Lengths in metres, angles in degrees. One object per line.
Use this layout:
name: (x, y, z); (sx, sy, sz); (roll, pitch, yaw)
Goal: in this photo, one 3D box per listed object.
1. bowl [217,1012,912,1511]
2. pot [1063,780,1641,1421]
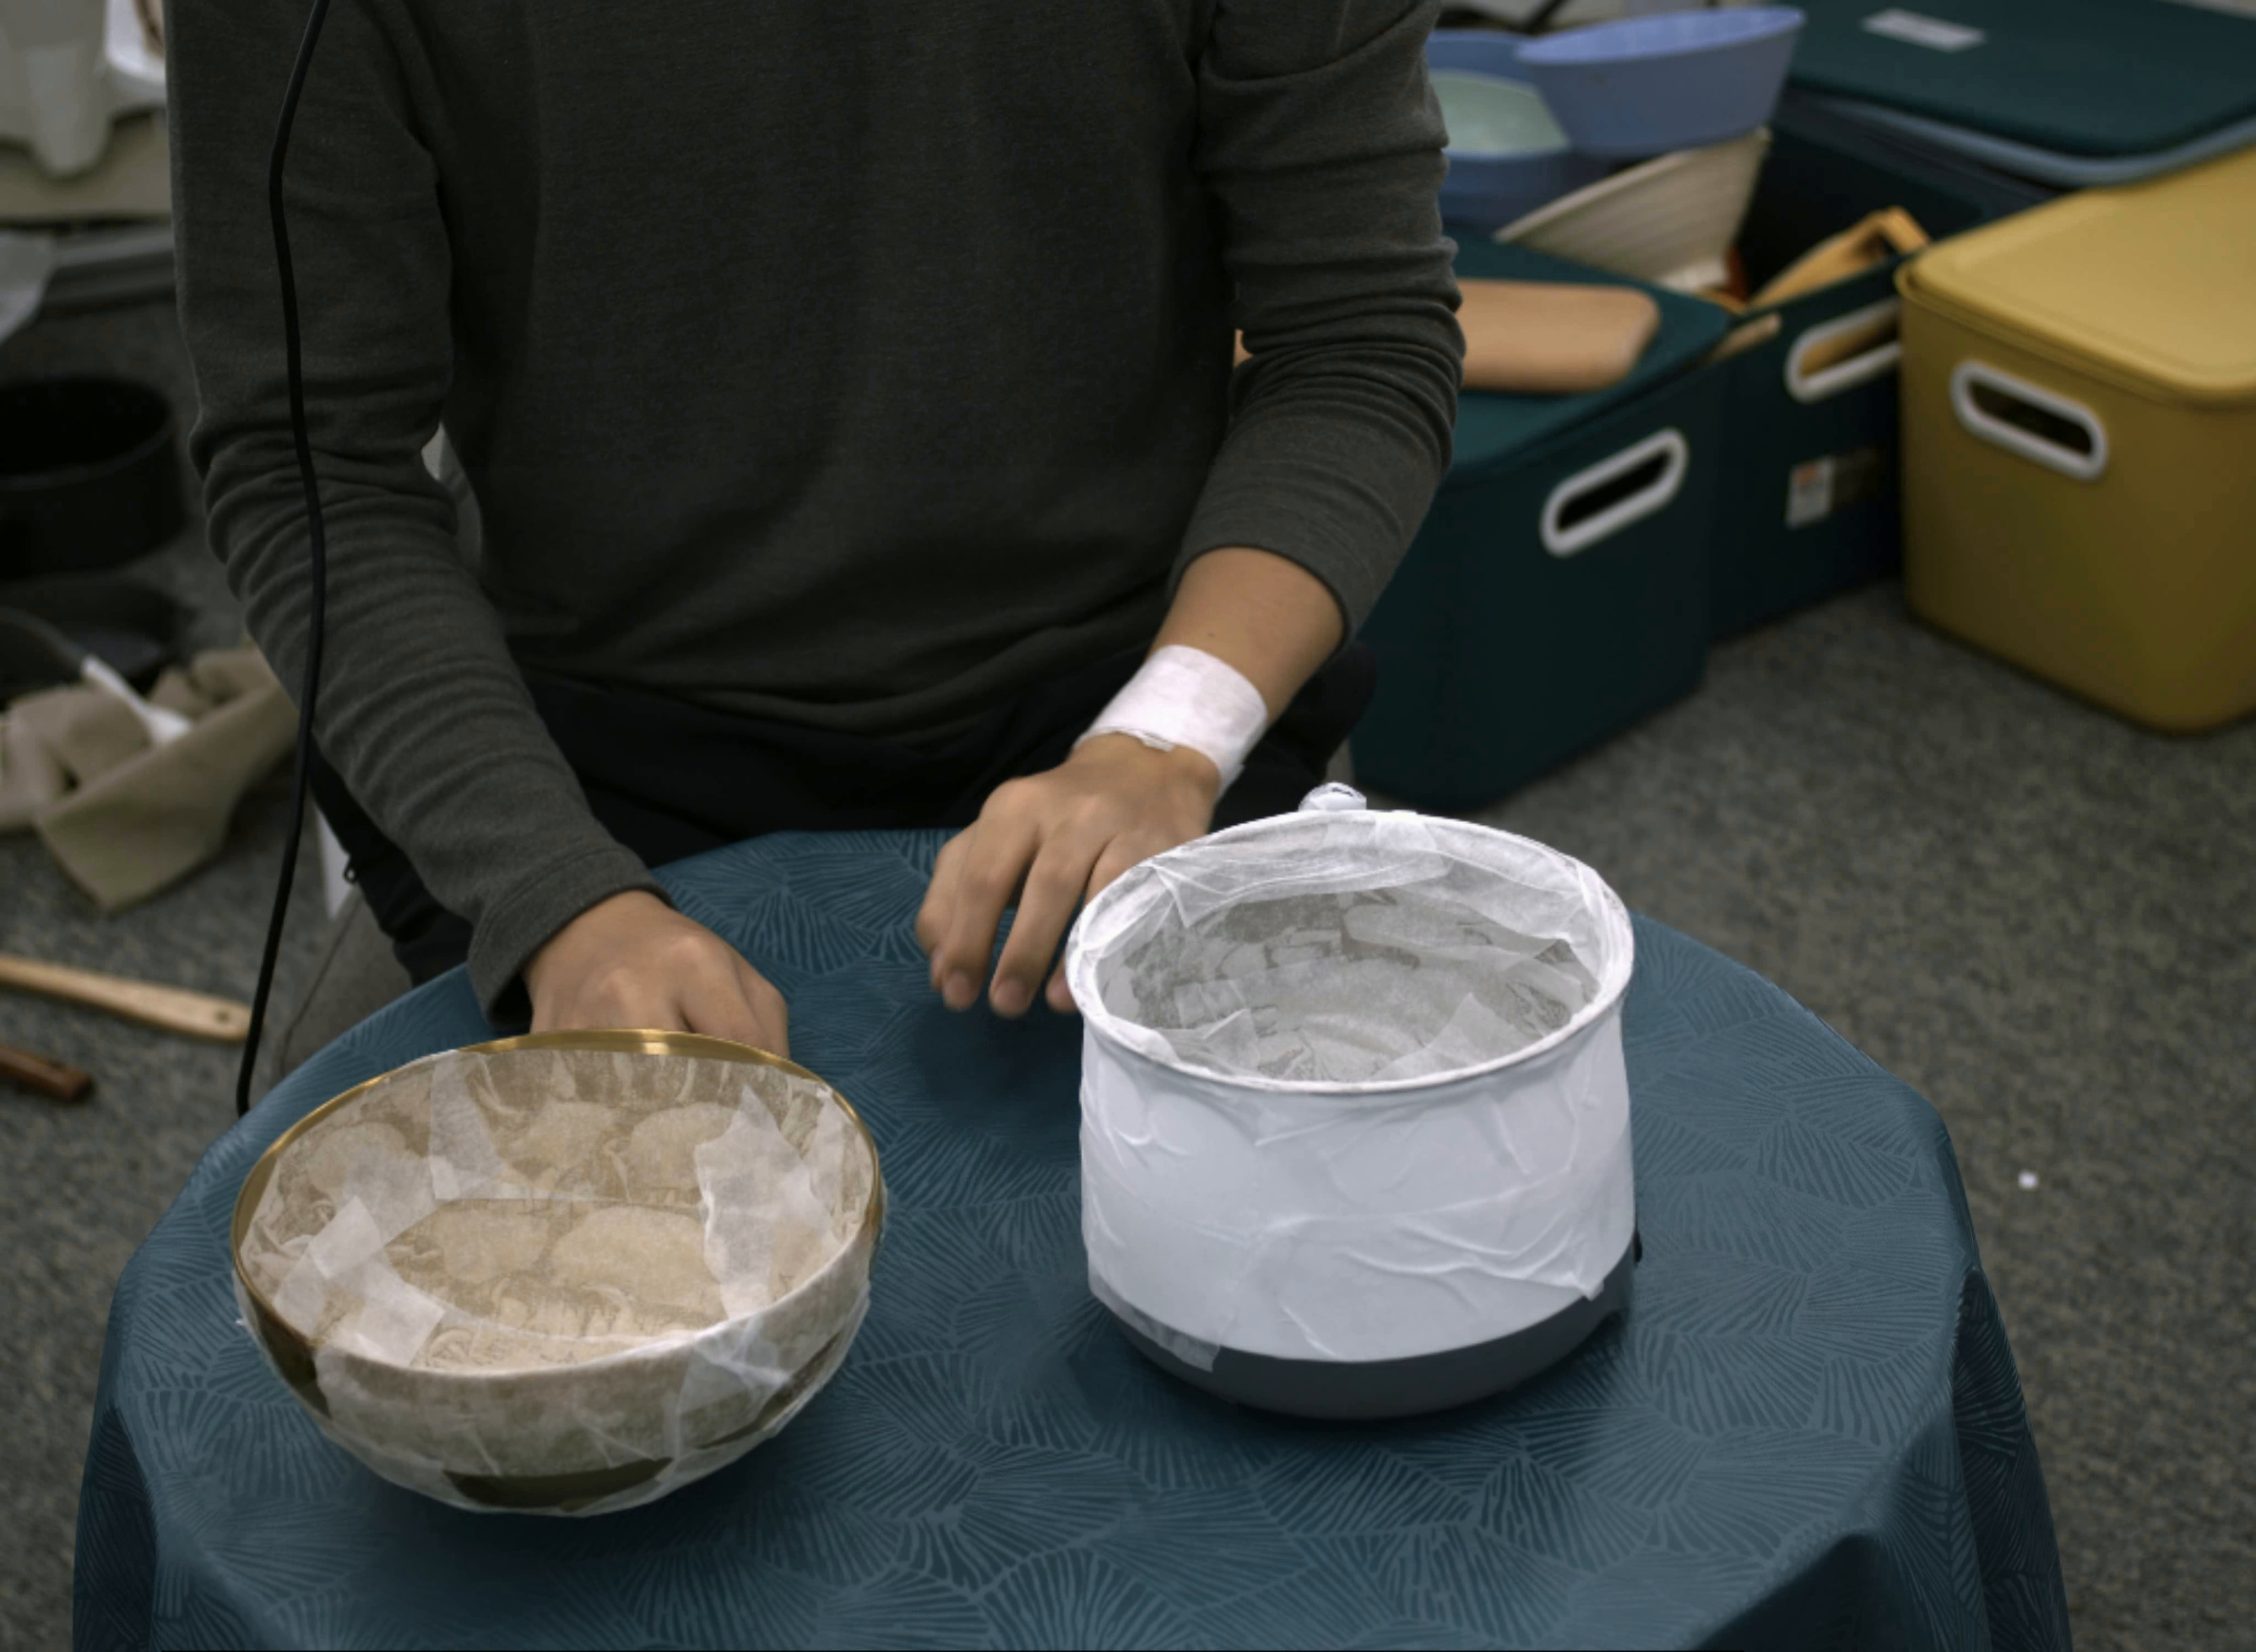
bowl: (-0.169, 0.147, 1.728); (0.213, 0.093, 0.218); (-4, 26, 2)
pot: (0.071, 0.079, 1.790); (0.178, 0.135, 0.237); (-3, 27, -1)
